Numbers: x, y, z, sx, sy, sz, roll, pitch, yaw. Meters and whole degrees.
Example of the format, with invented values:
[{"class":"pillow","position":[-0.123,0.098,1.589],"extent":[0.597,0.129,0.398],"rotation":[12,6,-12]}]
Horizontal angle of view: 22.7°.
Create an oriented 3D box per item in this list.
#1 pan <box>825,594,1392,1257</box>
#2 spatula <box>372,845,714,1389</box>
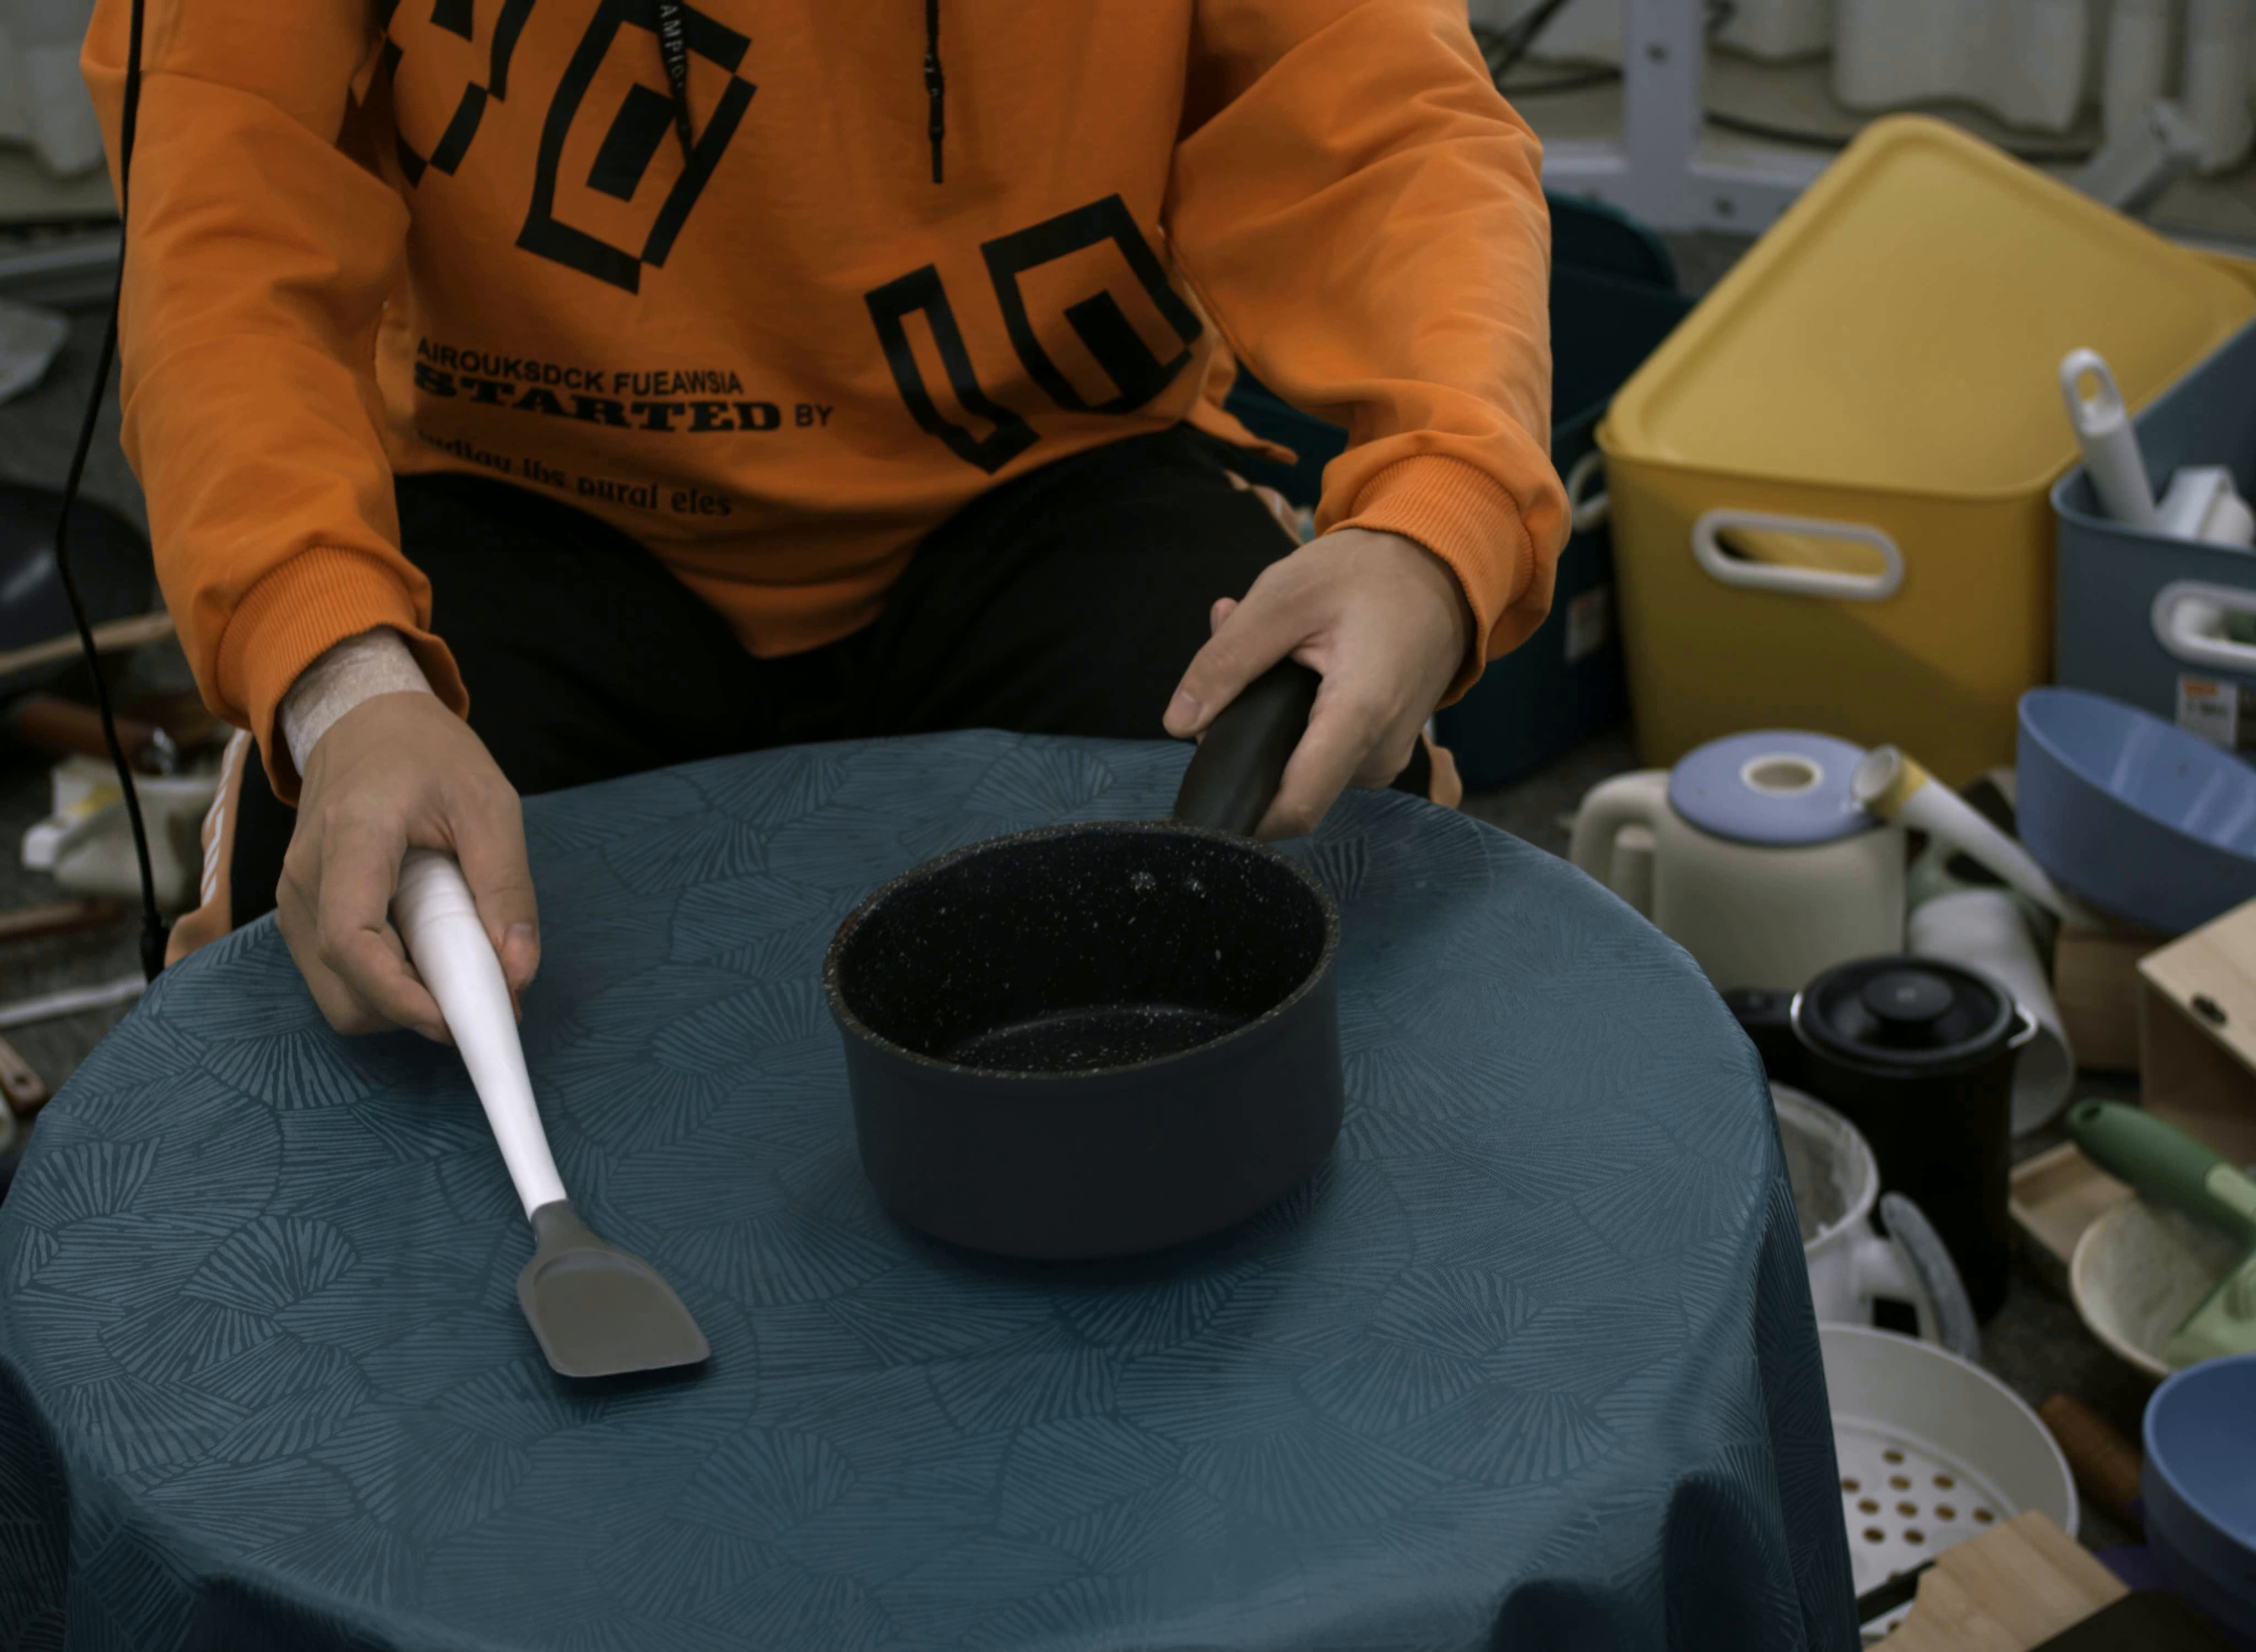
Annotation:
[{"class":"pan","position":[0.019,0.030,1.919],"extent":[0.171,0.085,0.334],"rotation":[7,31,22]},{"class":"spatula","position":[-0.202,0.100,1.873],"extent":[0.059,0.032,0.291],"rotation":[-2,34,-23]}]
